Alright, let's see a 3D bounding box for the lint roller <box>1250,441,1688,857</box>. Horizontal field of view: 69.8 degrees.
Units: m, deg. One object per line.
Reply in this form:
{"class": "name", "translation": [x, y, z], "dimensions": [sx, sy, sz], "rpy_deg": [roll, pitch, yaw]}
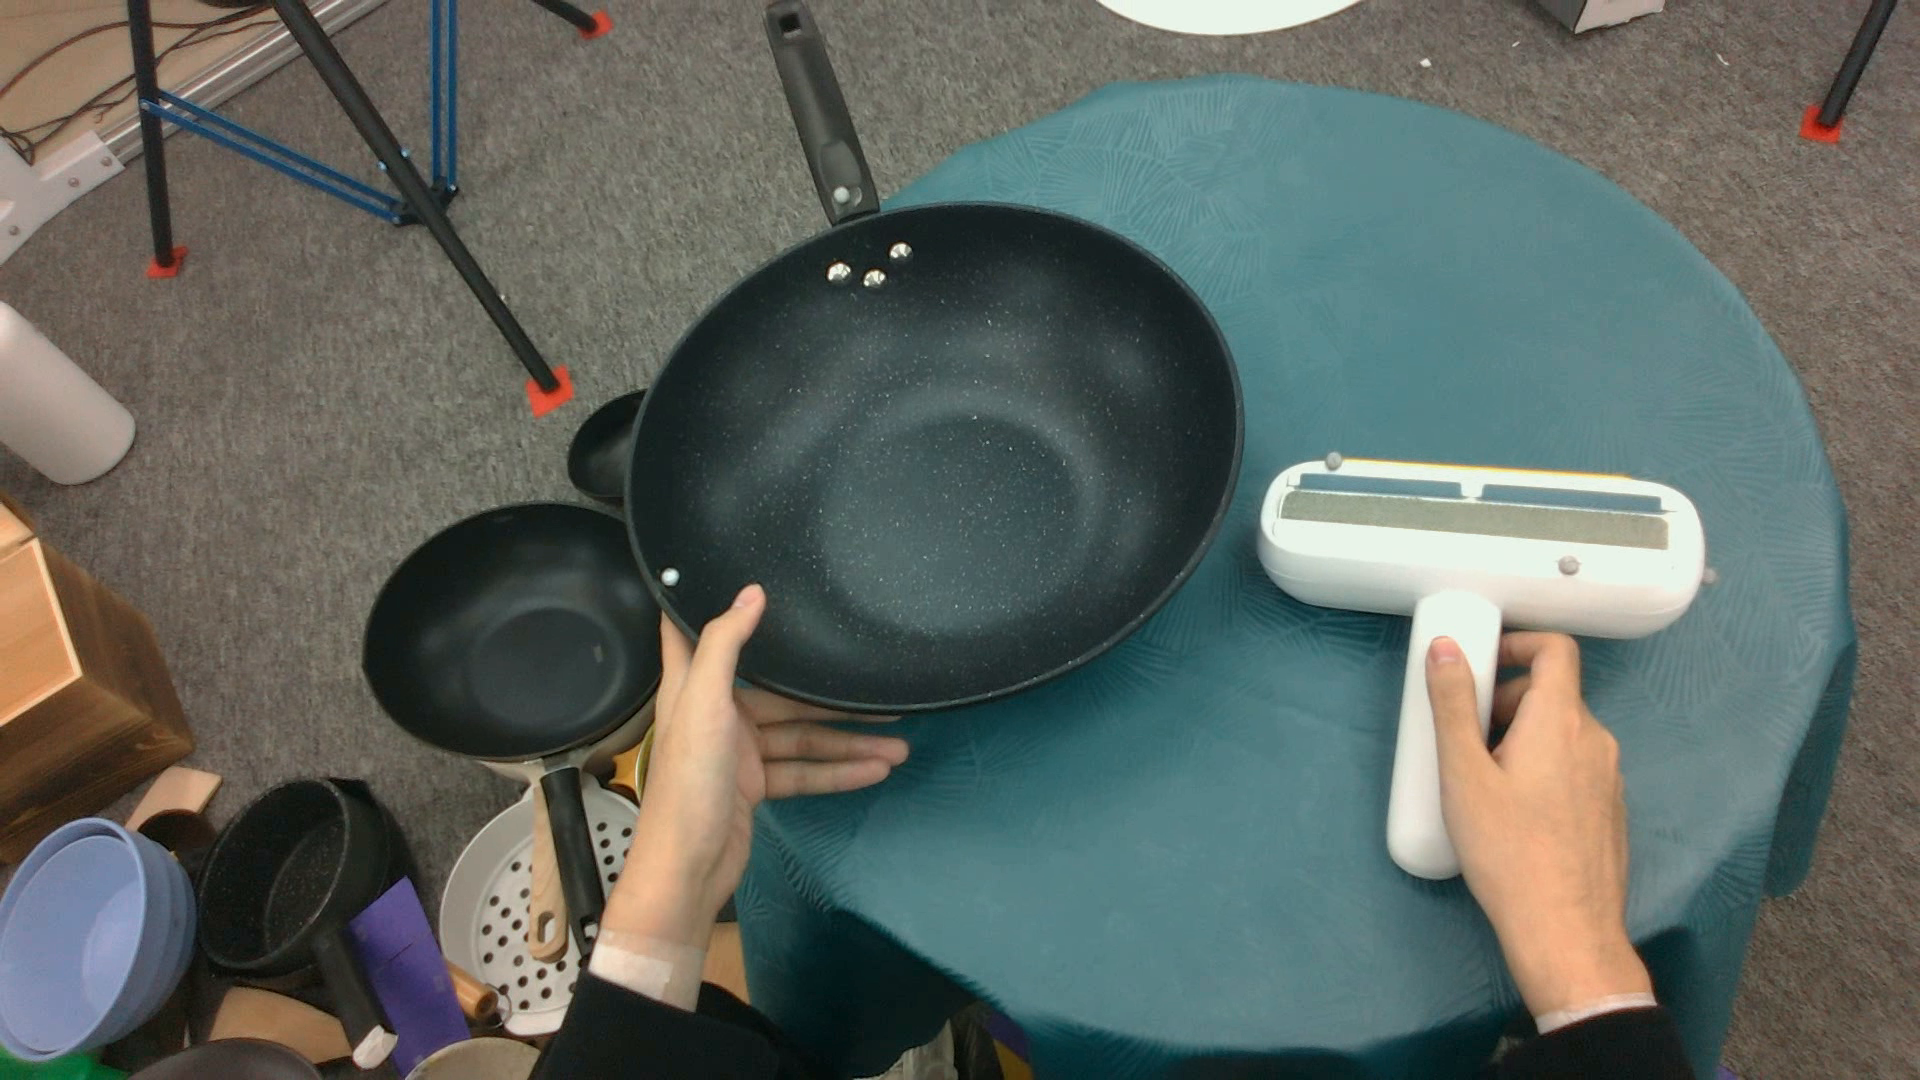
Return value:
{"class": "lint roller", "translation": [0.216, 0.048, 0.629], "dimensions": [0.192, 0.074, 0.193], "rpy_deg": [11, 63, 21]}

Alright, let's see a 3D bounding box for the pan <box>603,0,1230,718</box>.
{"class": "pan", "translation": [-0.045, -0.109, 0.745], "dimensions": [0.310, 0.111, 0.478], "rpy_deg": [-17, 58, -4]}
